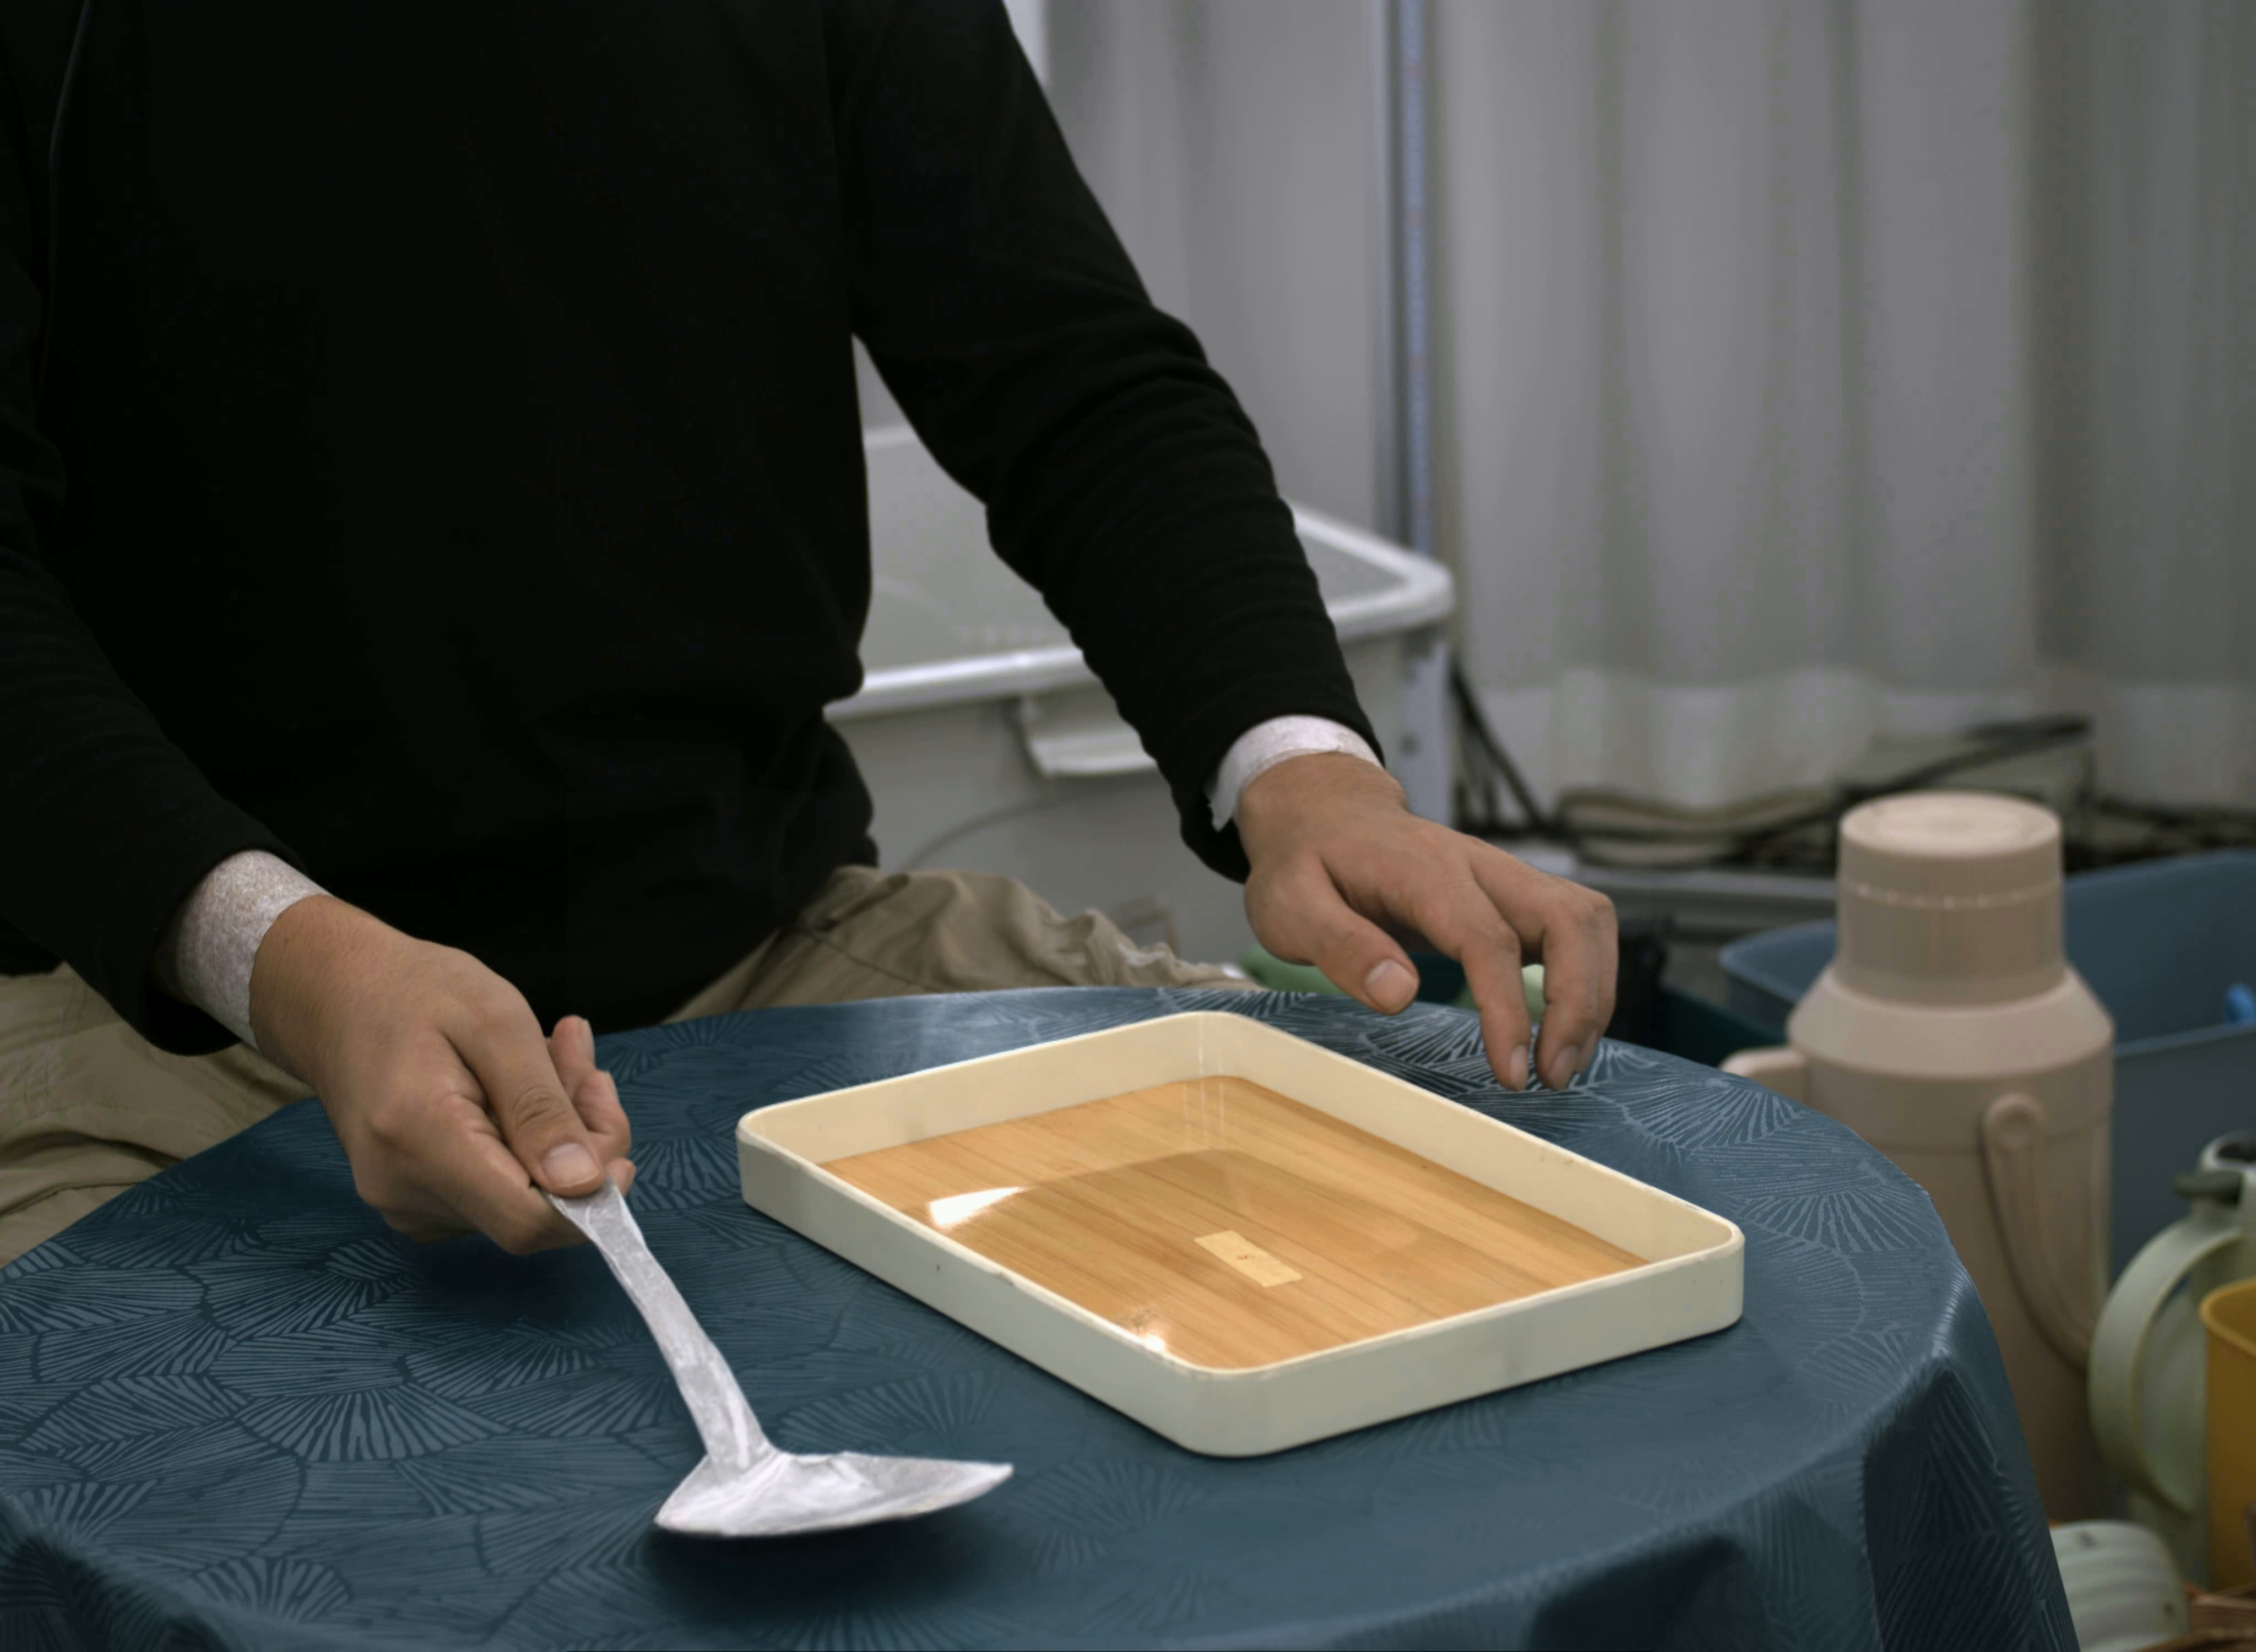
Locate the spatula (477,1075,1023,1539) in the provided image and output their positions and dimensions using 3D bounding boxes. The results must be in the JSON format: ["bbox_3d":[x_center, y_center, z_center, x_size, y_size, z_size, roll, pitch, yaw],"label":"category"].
[{"bbox_3d":[-0.133,0.128,1.556,0.098,0.044,0.369,-8,24,-20],"label":"spatula"}]

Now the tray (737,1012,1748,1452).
[{"bbox_3d":[0.028,0.117,1.647,0.191,0.027,0.302,-11,17,-29],"label":"tray"}]
